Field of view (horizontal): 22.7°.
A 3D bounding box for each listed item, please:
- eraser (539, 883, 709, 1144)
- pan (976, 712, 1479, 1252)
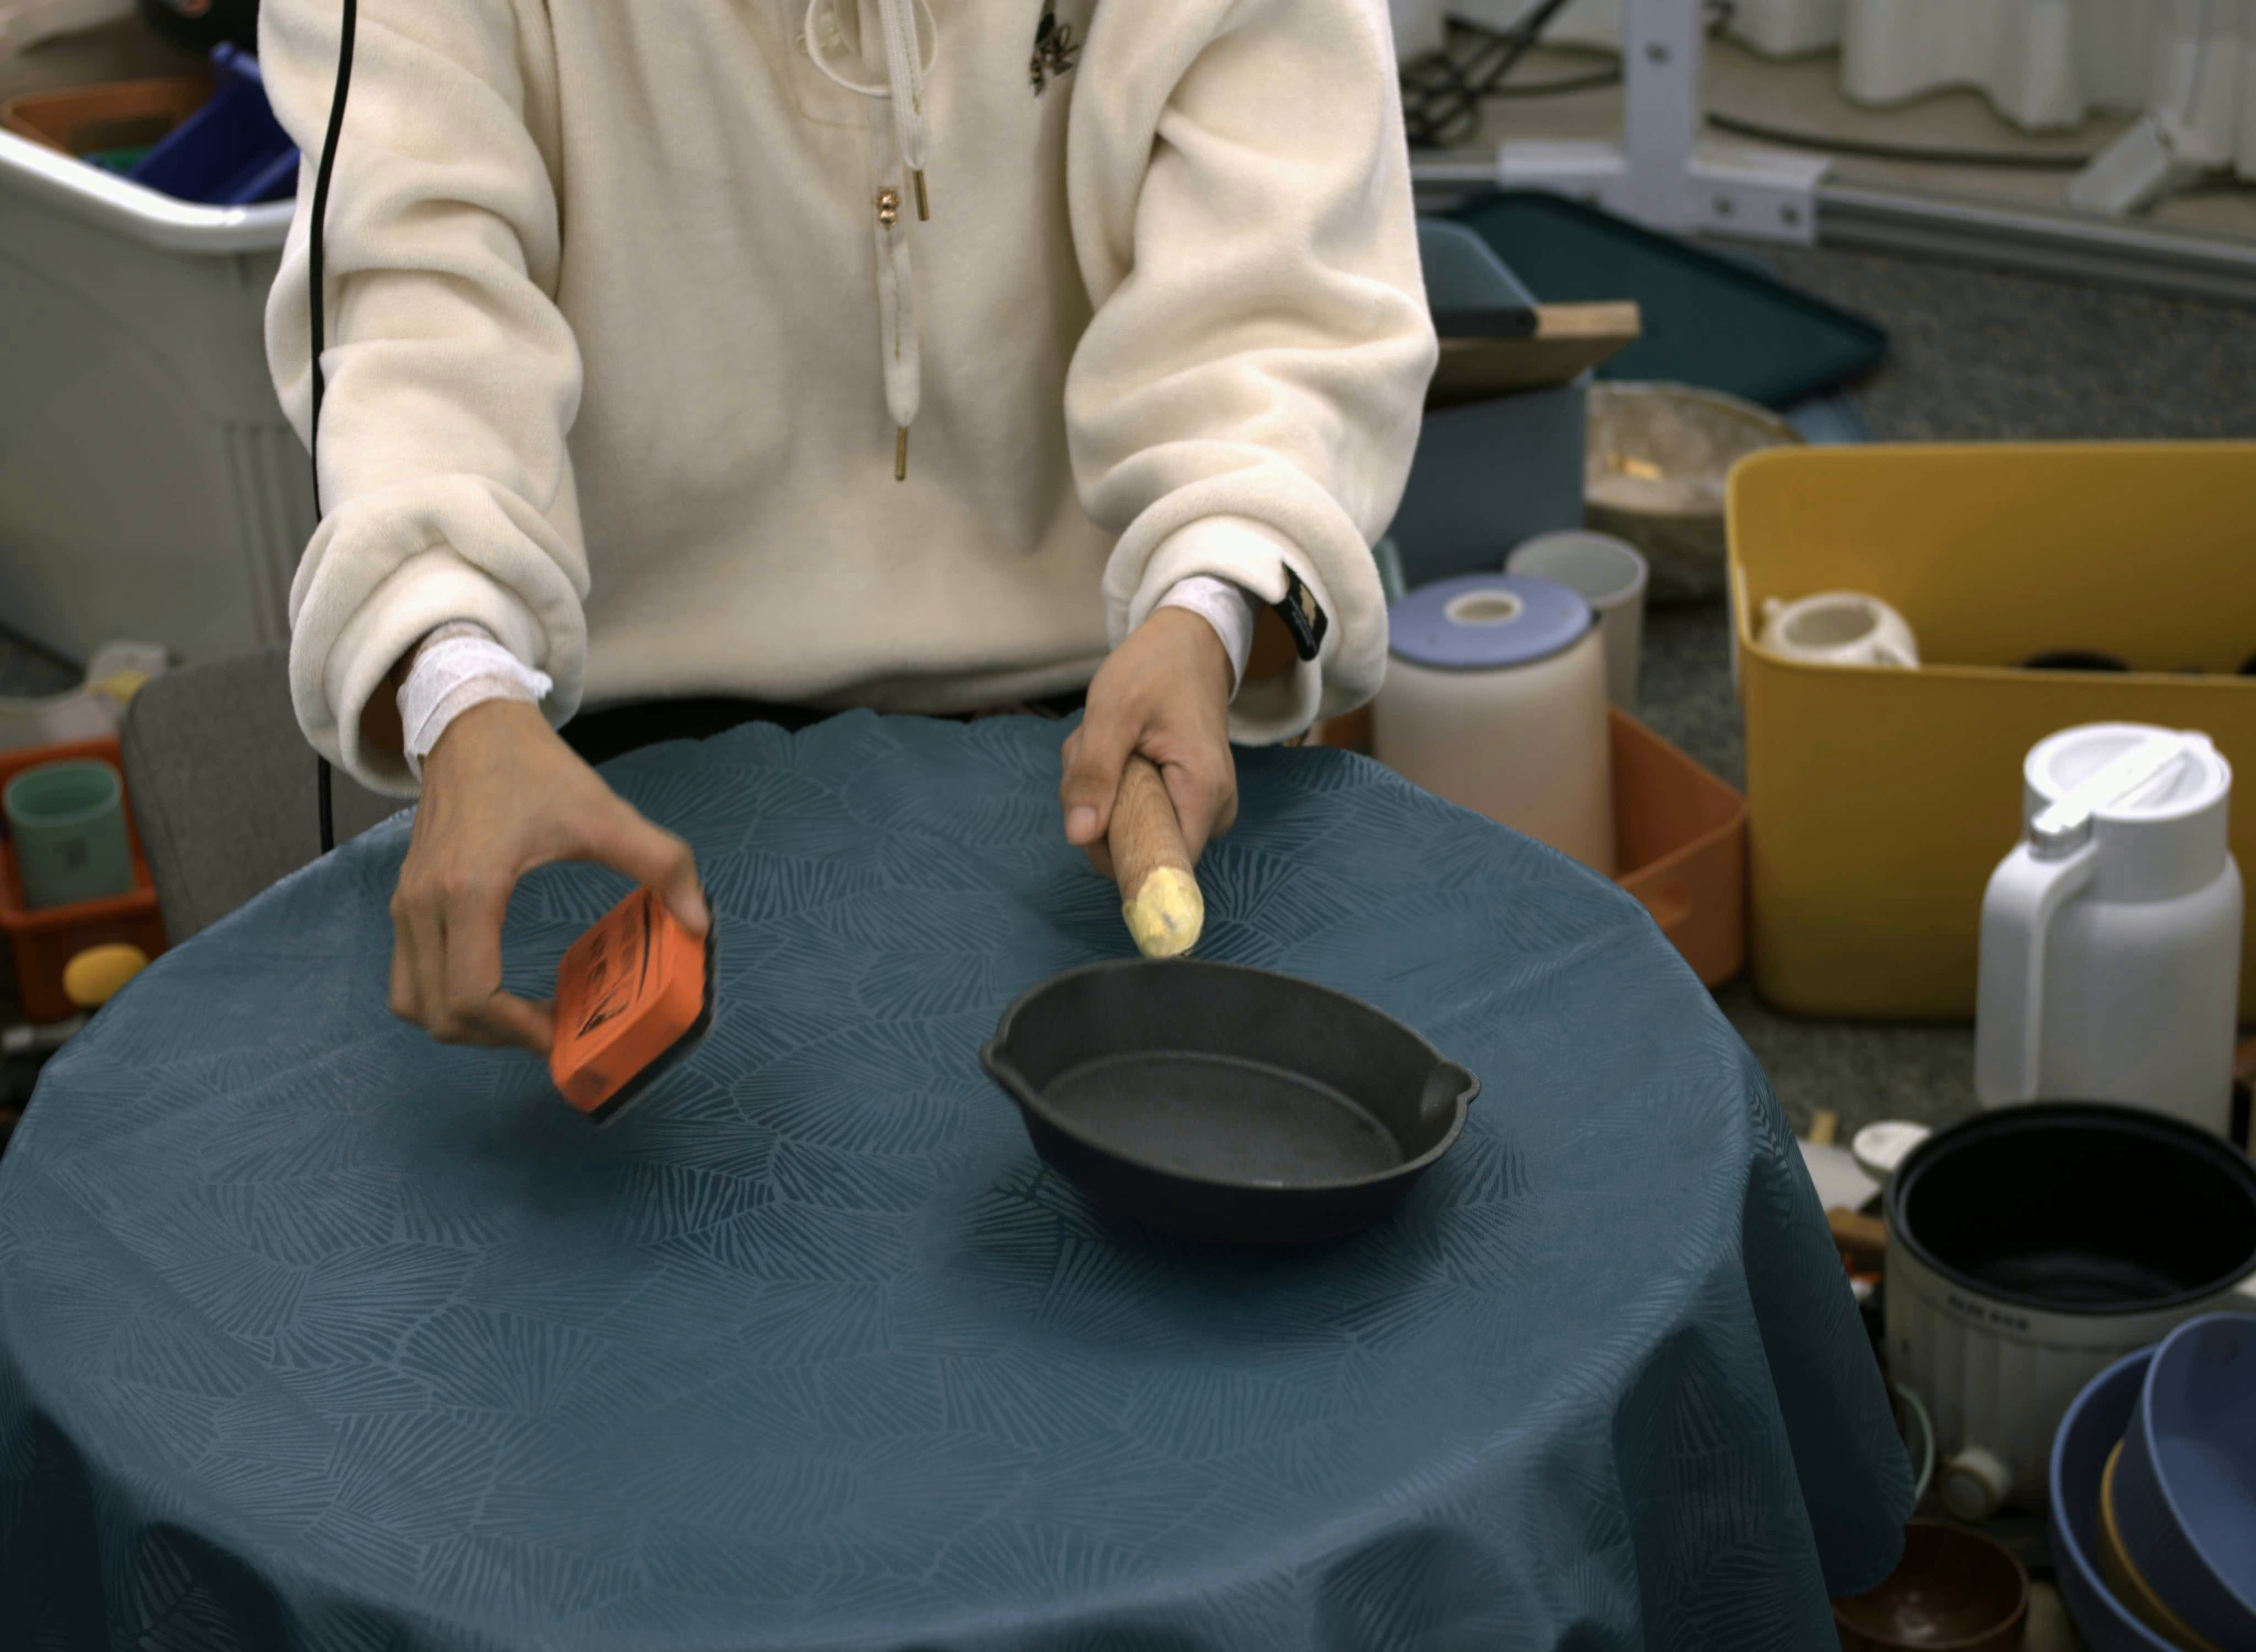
[{"bbox_3d":[-0.169,0.062,1.888,0.058,0.023,0.109,-40,19,11],"label":"eraser"},{"bbox_3d":[0.020,0.051,1.924,0.168,0.049,0.328,2,27,-10],"label":"pan"}]
